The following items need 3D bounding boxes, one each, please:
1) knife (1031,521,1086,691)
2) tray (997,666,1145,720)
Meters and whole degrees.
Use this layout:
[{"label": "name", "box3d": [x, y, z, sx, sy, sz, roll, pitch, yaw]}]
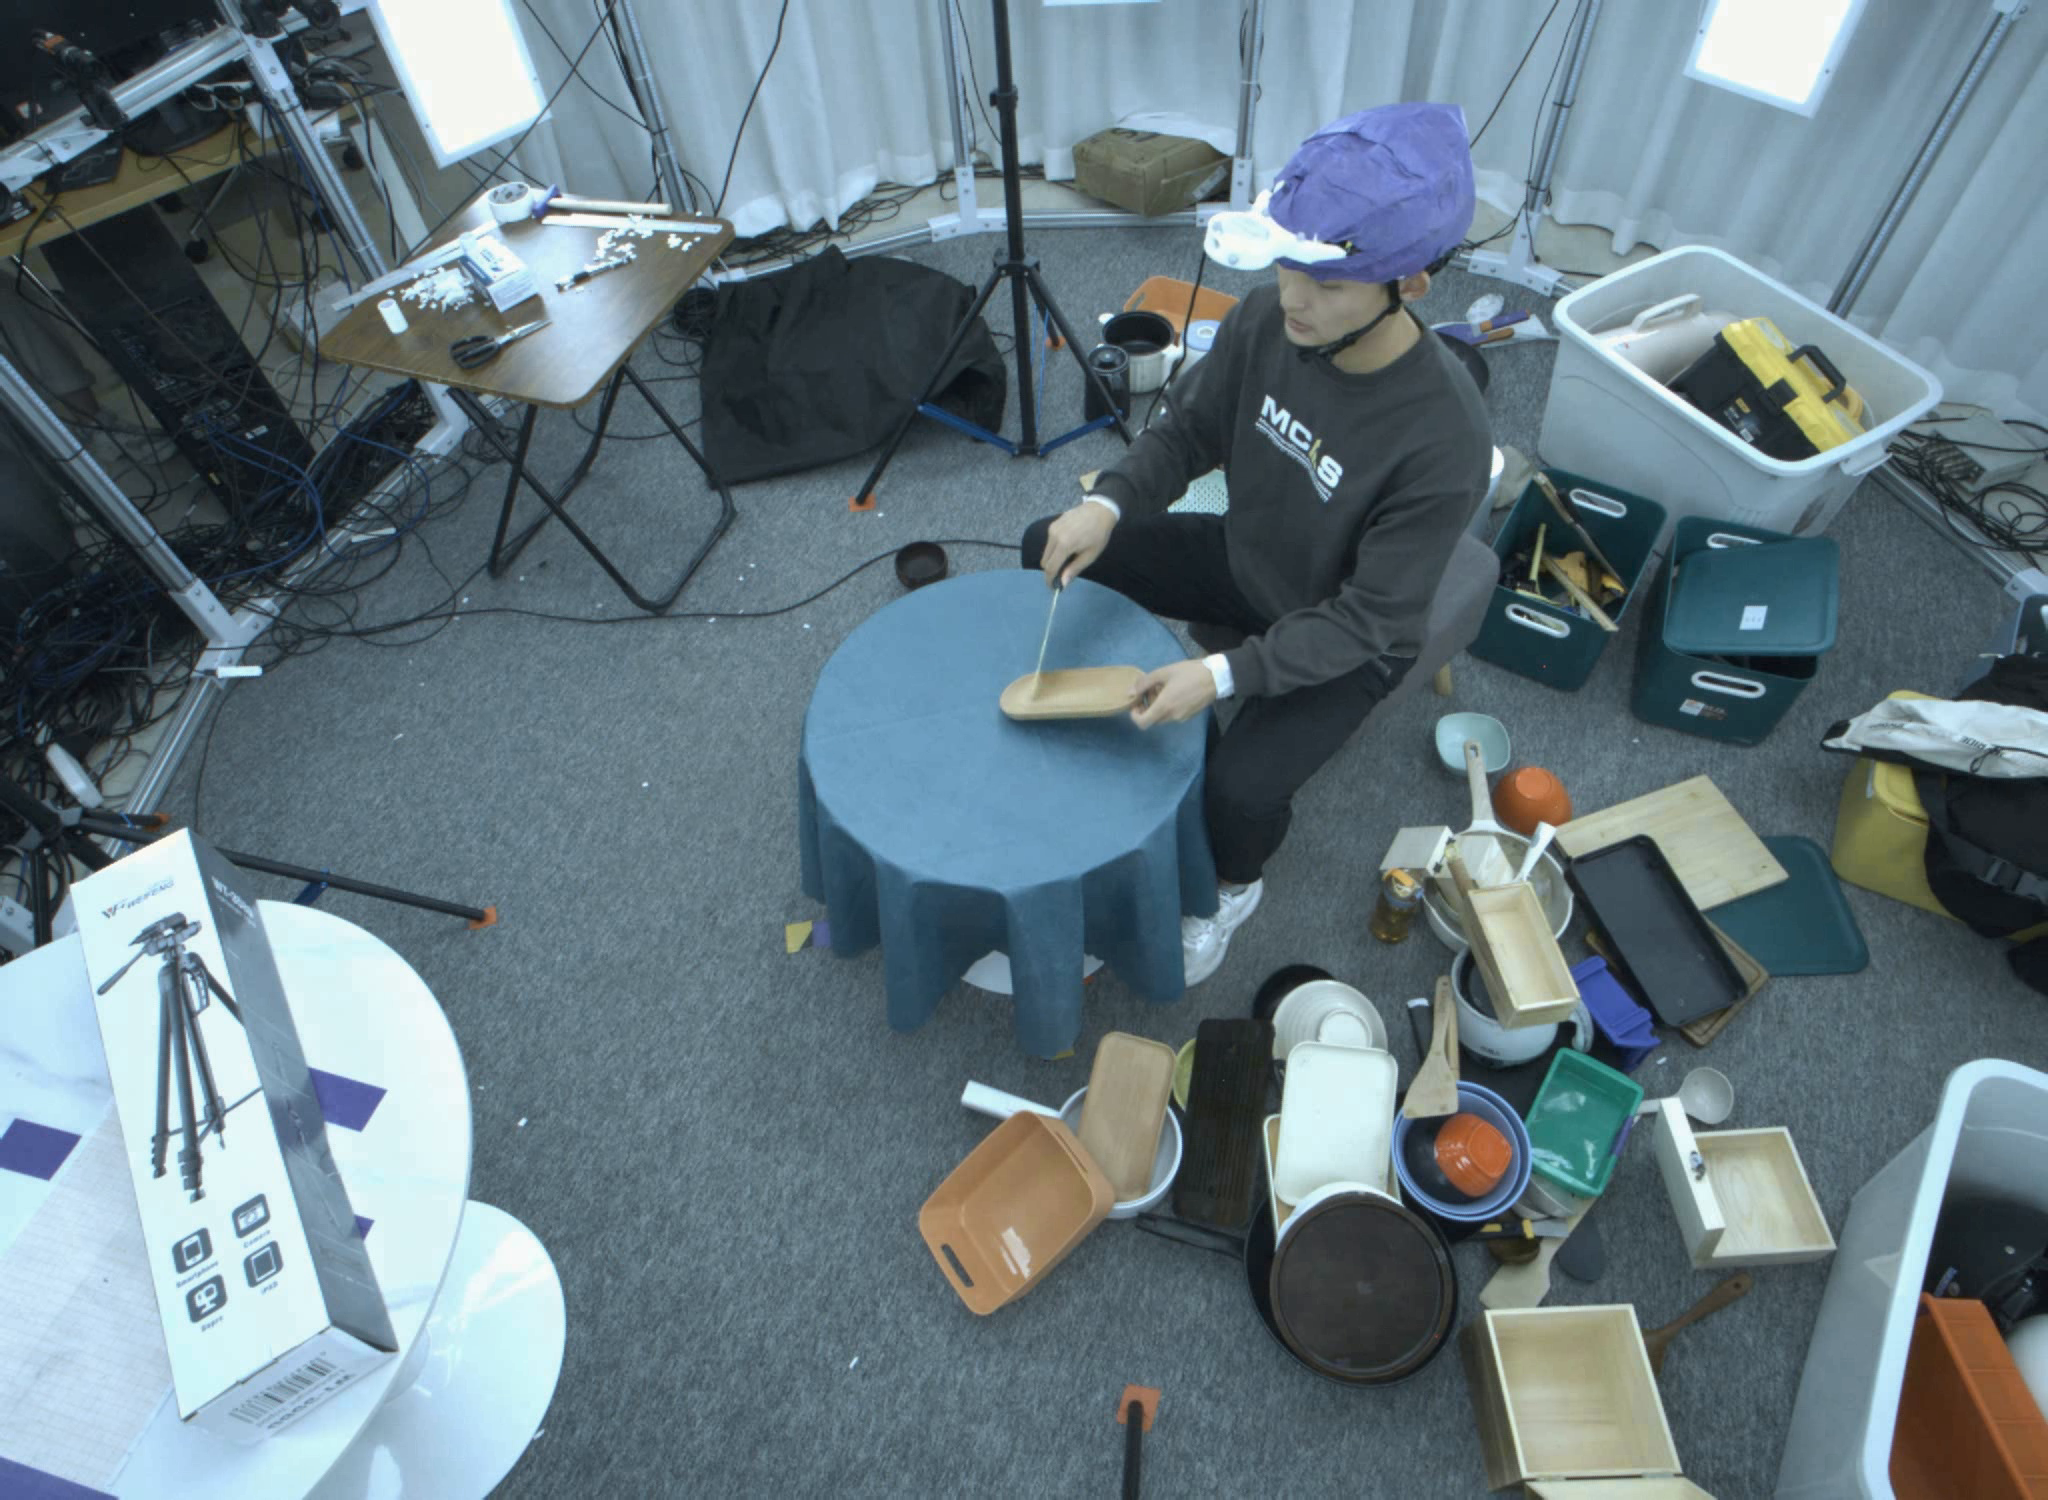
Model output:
[{"label": "knife", "box3d": [0.047, -0.217, 1.849, 0.027, 0.081, 0.288, 17, 70, -2]}, {"label": "tray", "box3d": [0.068, -0.082, 1.796, 0.227, 0.020, 0.101, -3, 39, 27]}]
